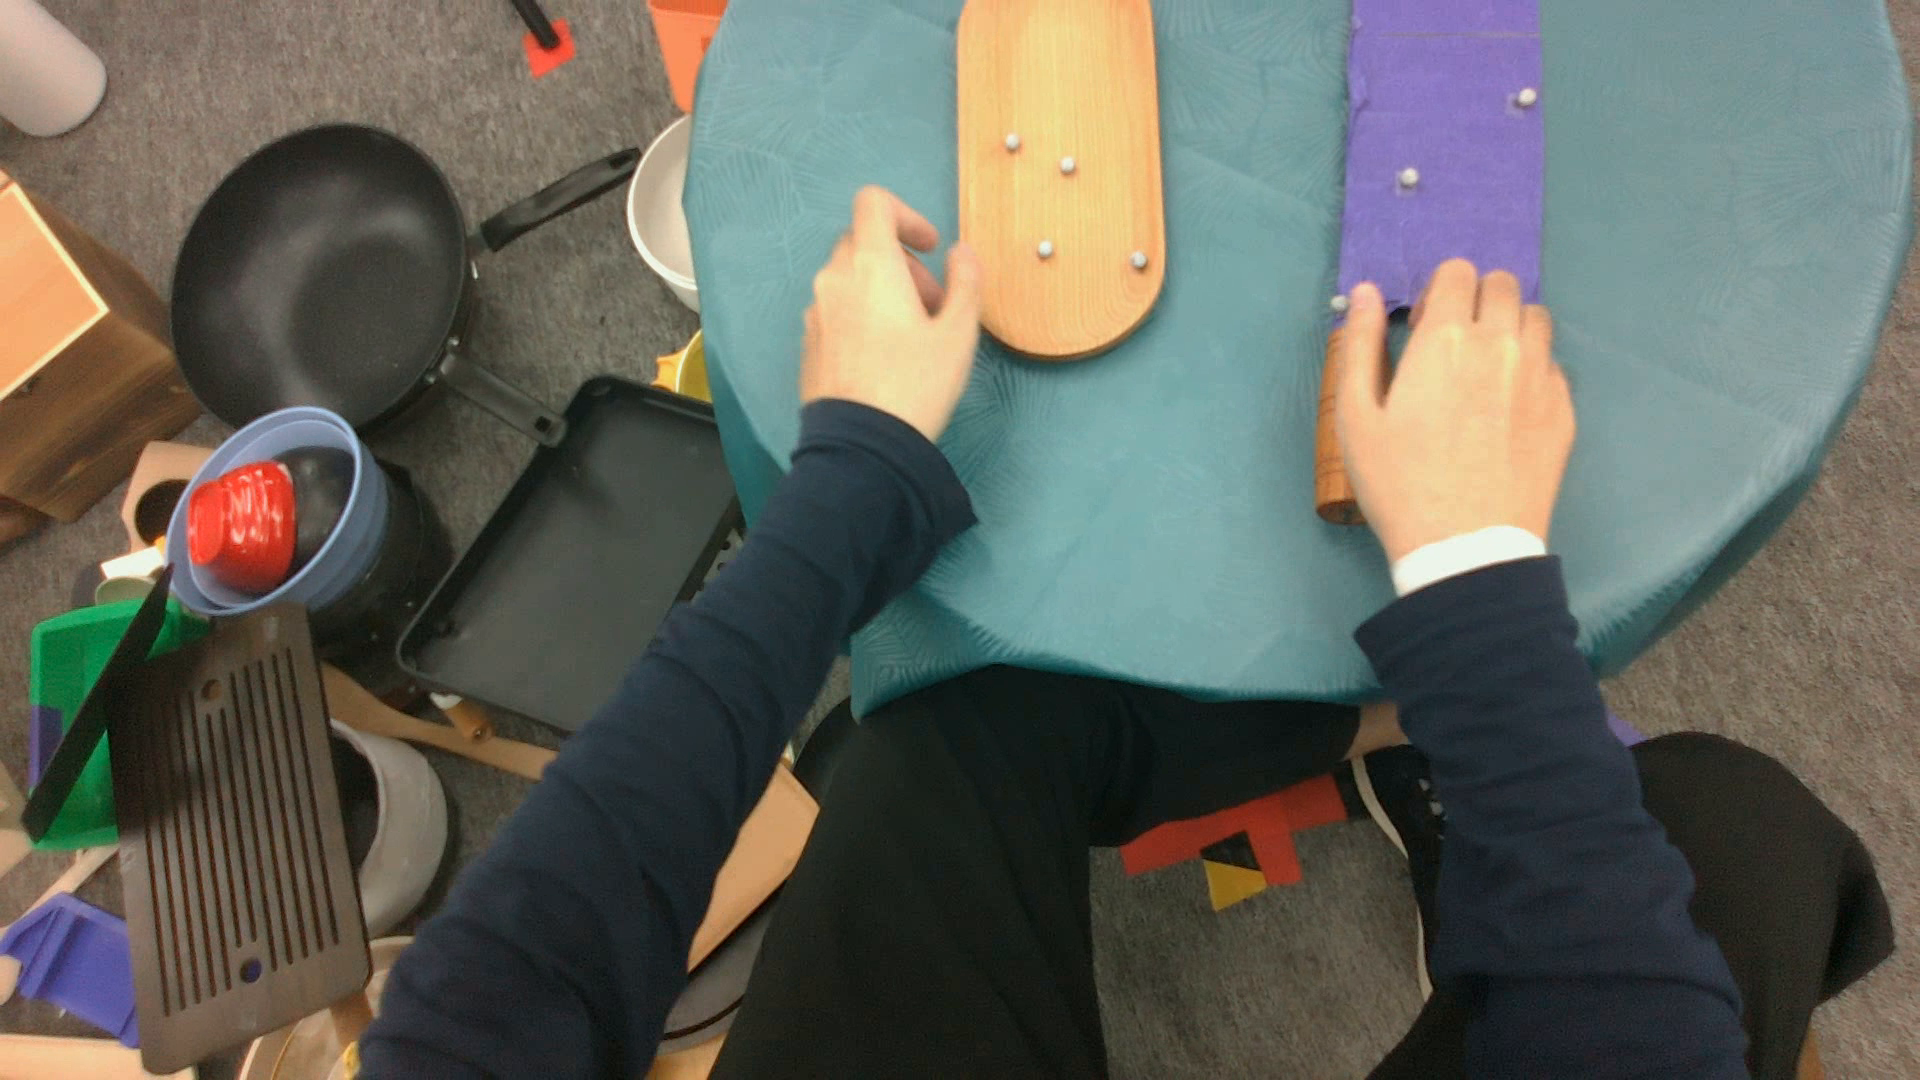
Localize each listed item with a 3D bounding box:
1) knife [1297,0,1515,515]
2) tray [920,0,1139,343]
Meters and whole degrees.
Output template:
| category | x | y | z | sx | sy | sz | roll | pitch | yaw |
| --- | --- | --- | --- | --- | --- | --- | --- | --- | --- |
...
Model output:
| category | x | y | z | sx | sy | sz | roll | pitch | yaw |
| --- | --- | --- | --- | --- | --- | --- | --- | --- | --- |
| knife | 0.210 | -0.162 | 0.654 | 0.104 | 0.032 | 0.316 | 3 | 72 | 9 |
| tray | 0.033 | -0.204 | 0.698 | 0.101 | 0.020 | 0.232 | -5 | 68 | 4 |
